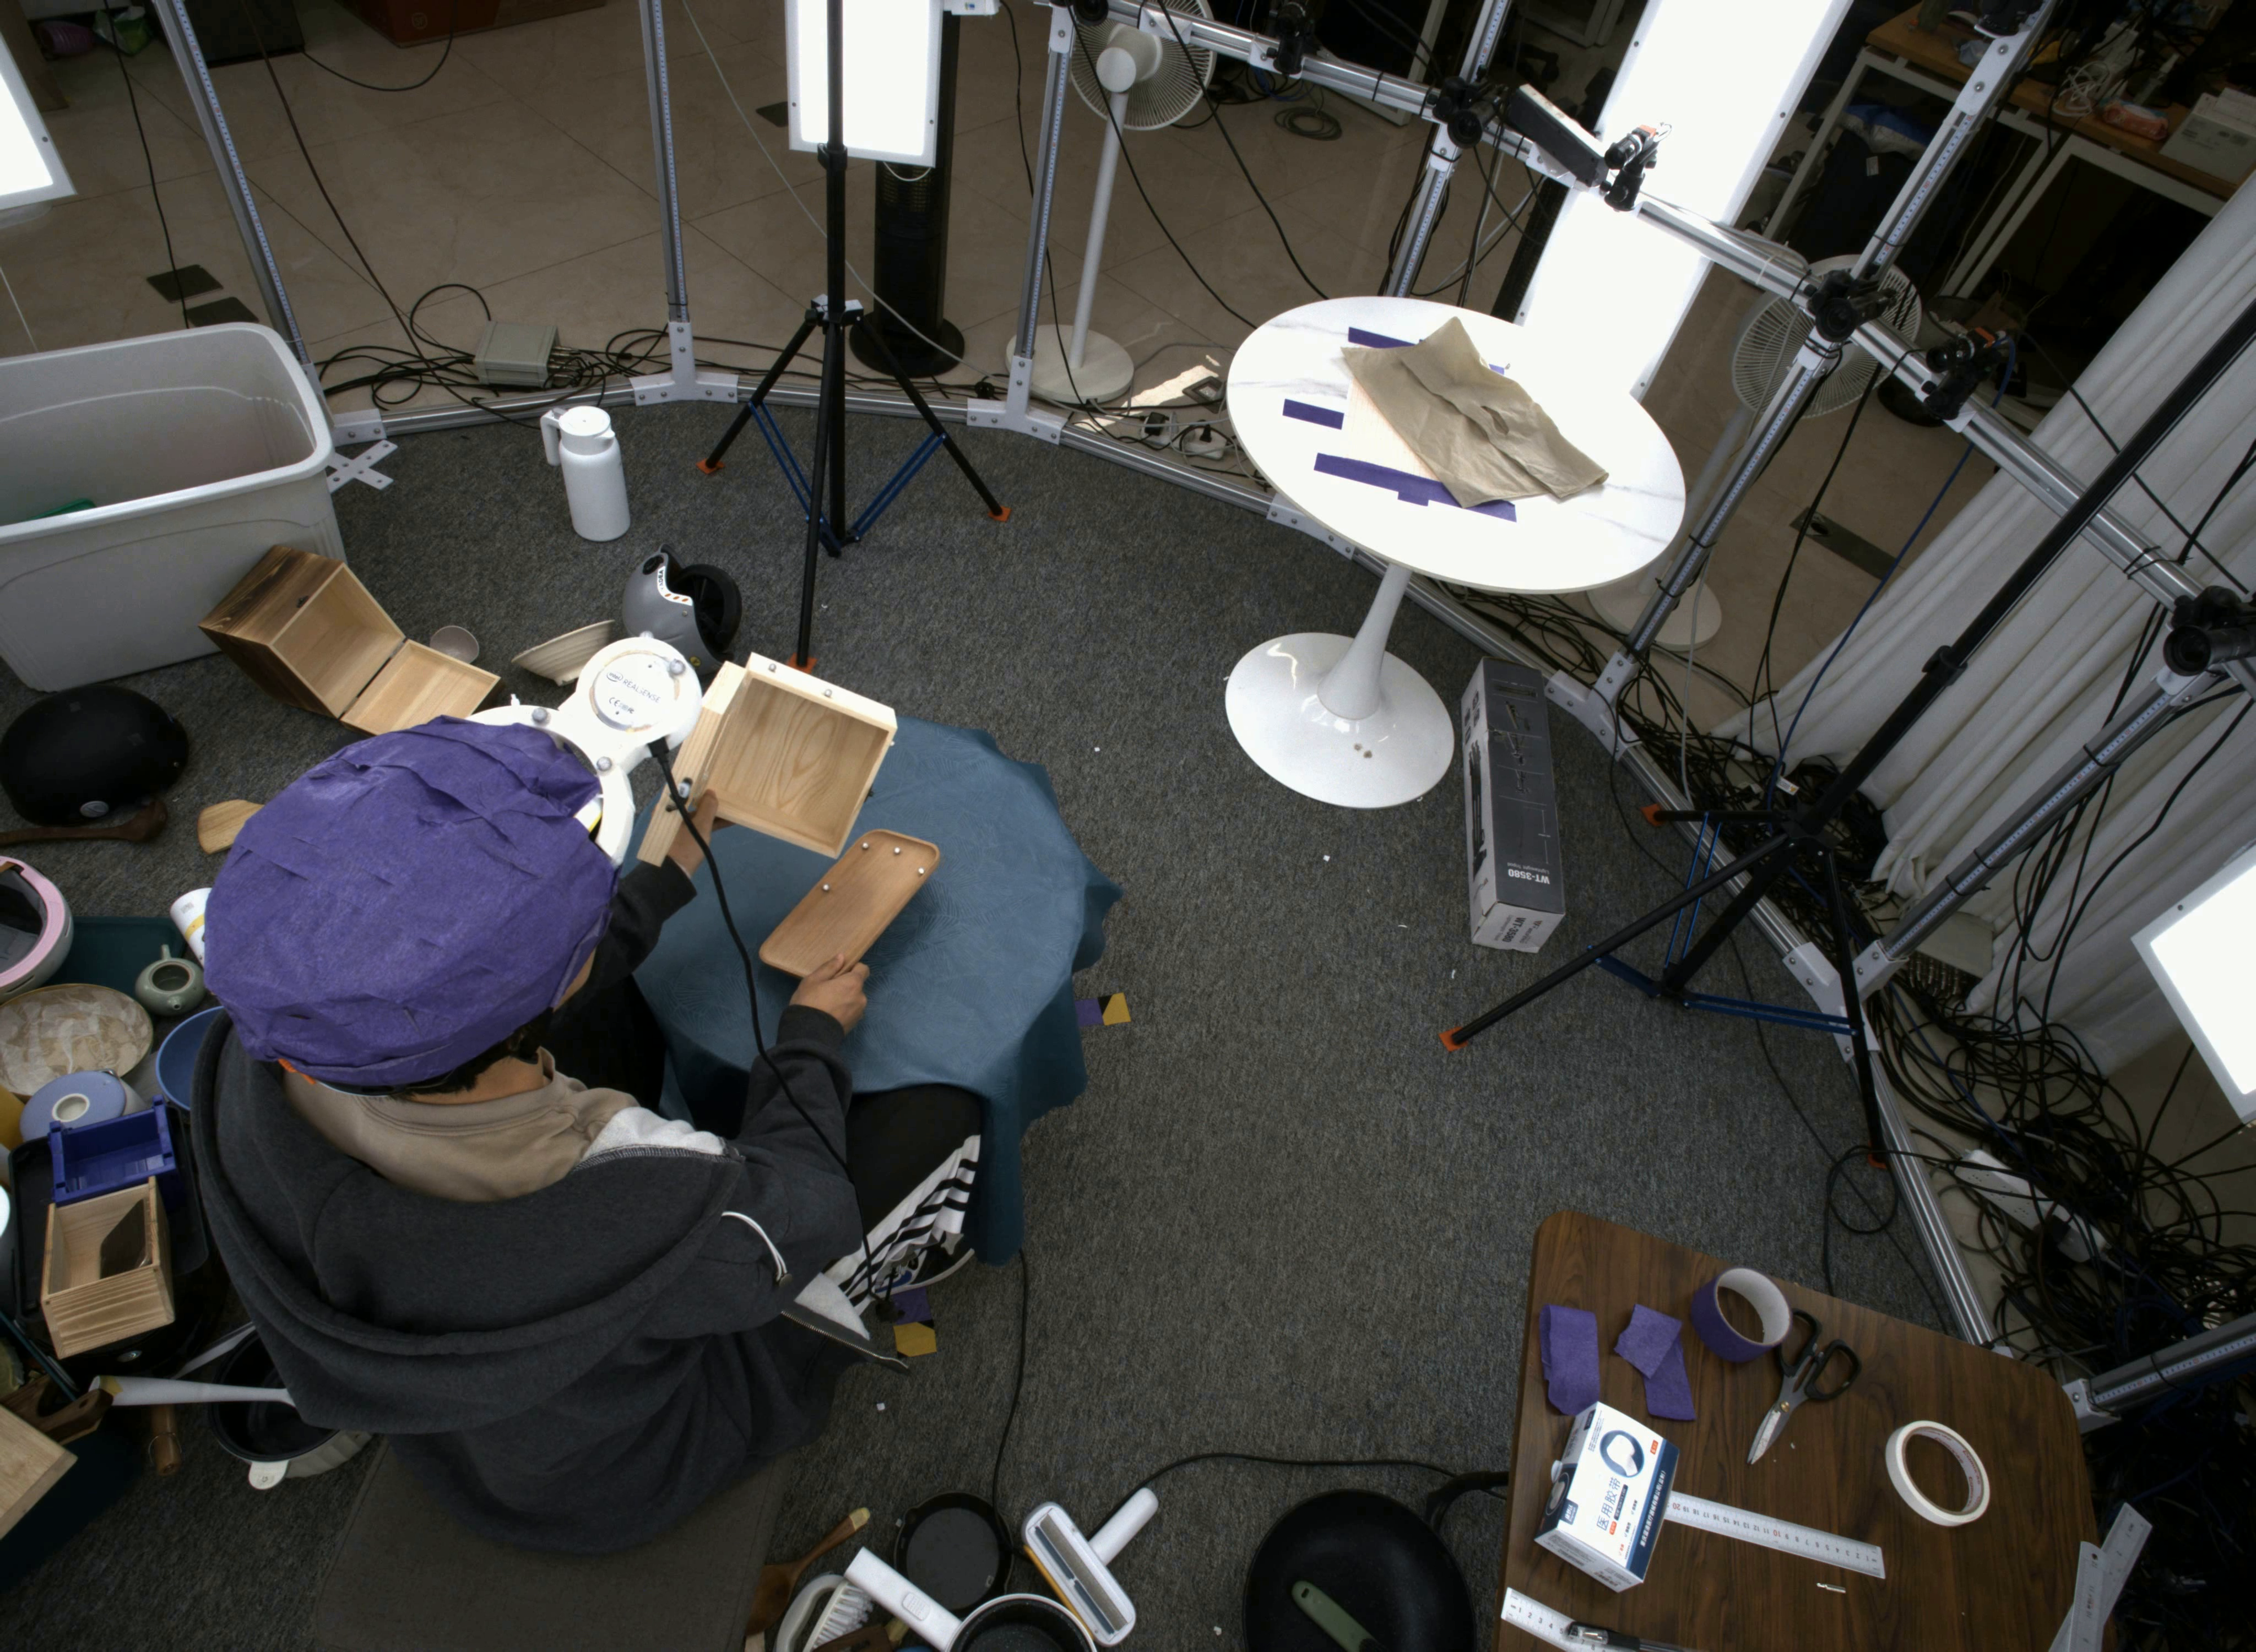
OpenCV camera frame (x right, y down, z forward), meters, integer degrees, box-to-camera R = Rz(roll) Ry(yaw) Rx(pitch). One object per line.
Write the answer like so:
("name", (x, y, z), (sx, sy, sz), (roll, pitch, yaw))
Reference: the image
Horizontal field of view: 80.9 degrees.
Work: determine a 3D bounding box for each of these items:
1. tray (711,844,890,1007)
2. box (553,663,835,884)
("tray", (-0.397, 0.116, 1.587), (0.126, 0.024, 0.249), (11, 48, 25))
("box", (-0.466, -0.042, 1.407), (0.270, 0.184, 0.245), (18, 19, -23))
